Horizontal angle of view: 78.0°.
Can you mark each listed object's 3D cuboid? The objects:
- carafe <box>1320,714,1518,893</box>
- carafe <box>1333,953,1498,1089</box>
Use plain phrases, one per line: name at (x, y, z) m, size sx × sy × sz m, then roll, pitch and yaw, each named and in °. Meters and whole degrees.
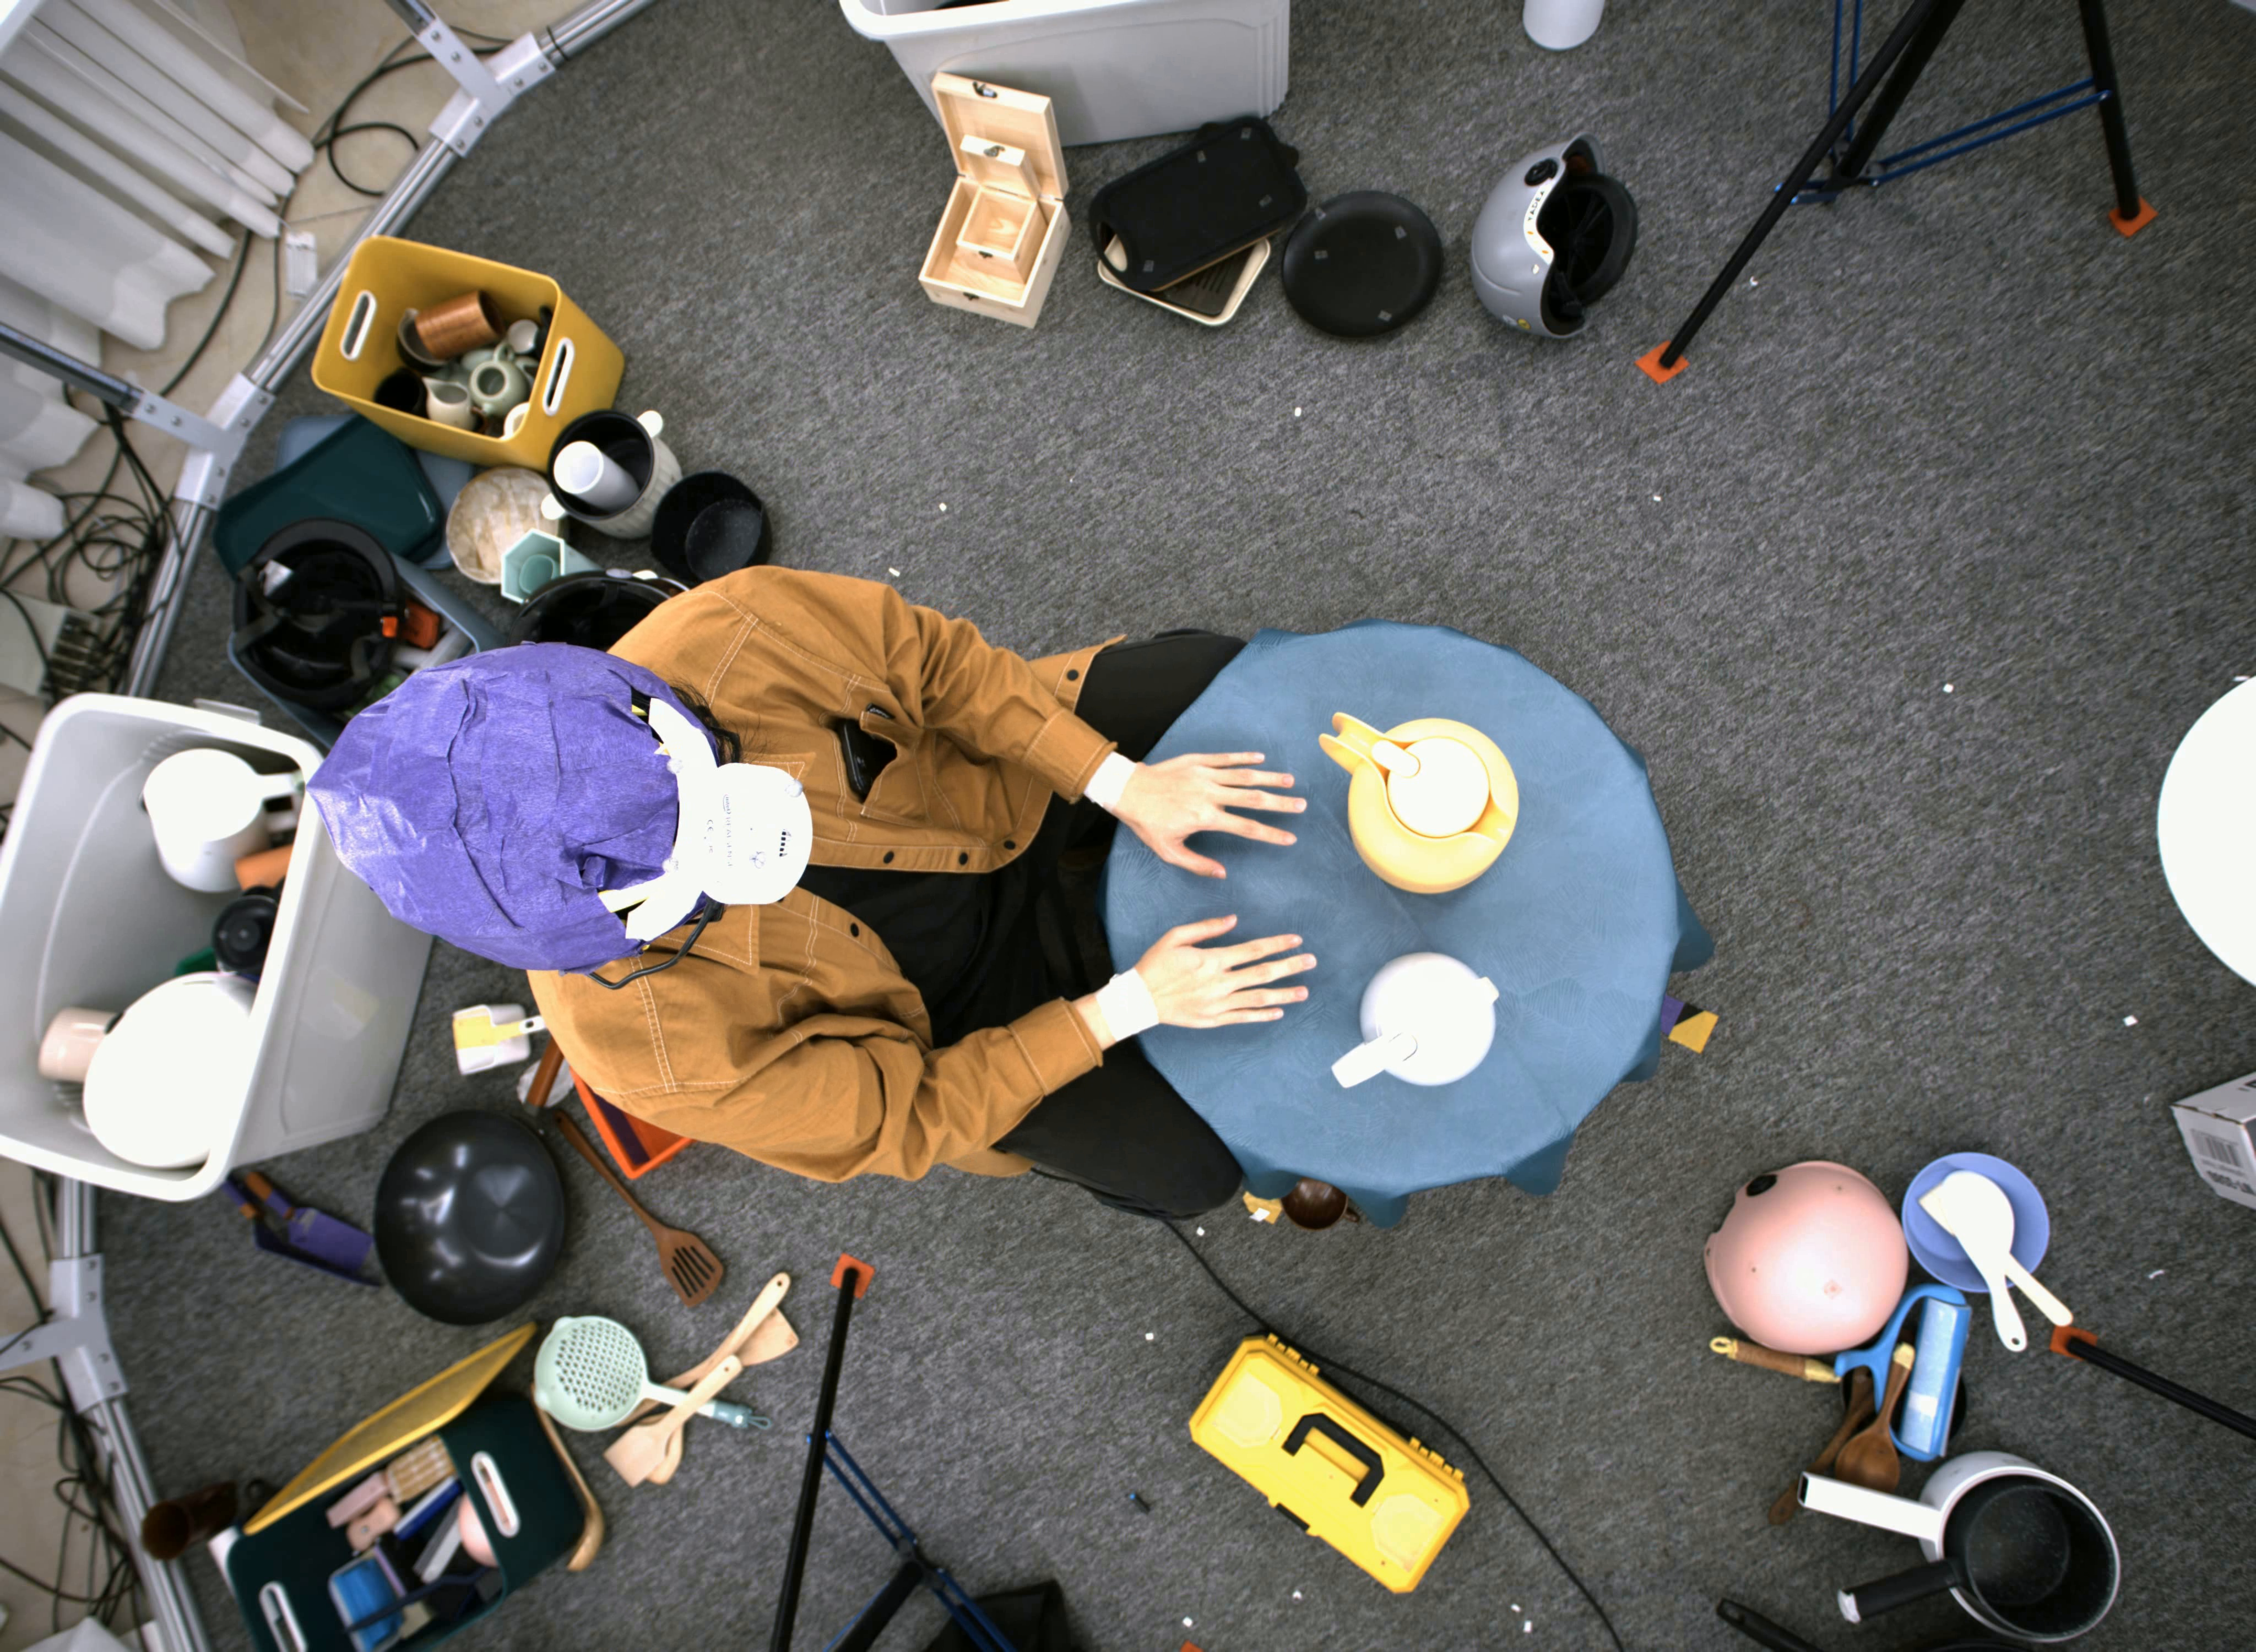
carafe at (0.278, -0.034, 1.332) m, size 0.202 × 0.261 × 0.163 m, roll 36°, pitch 90°, yaw 10°
carafe at (0.273, 0.197, 1.329) m, size 0.168 × 0.249 × 0.132 m, roll -34°, pitch 80°, yaw 6°
